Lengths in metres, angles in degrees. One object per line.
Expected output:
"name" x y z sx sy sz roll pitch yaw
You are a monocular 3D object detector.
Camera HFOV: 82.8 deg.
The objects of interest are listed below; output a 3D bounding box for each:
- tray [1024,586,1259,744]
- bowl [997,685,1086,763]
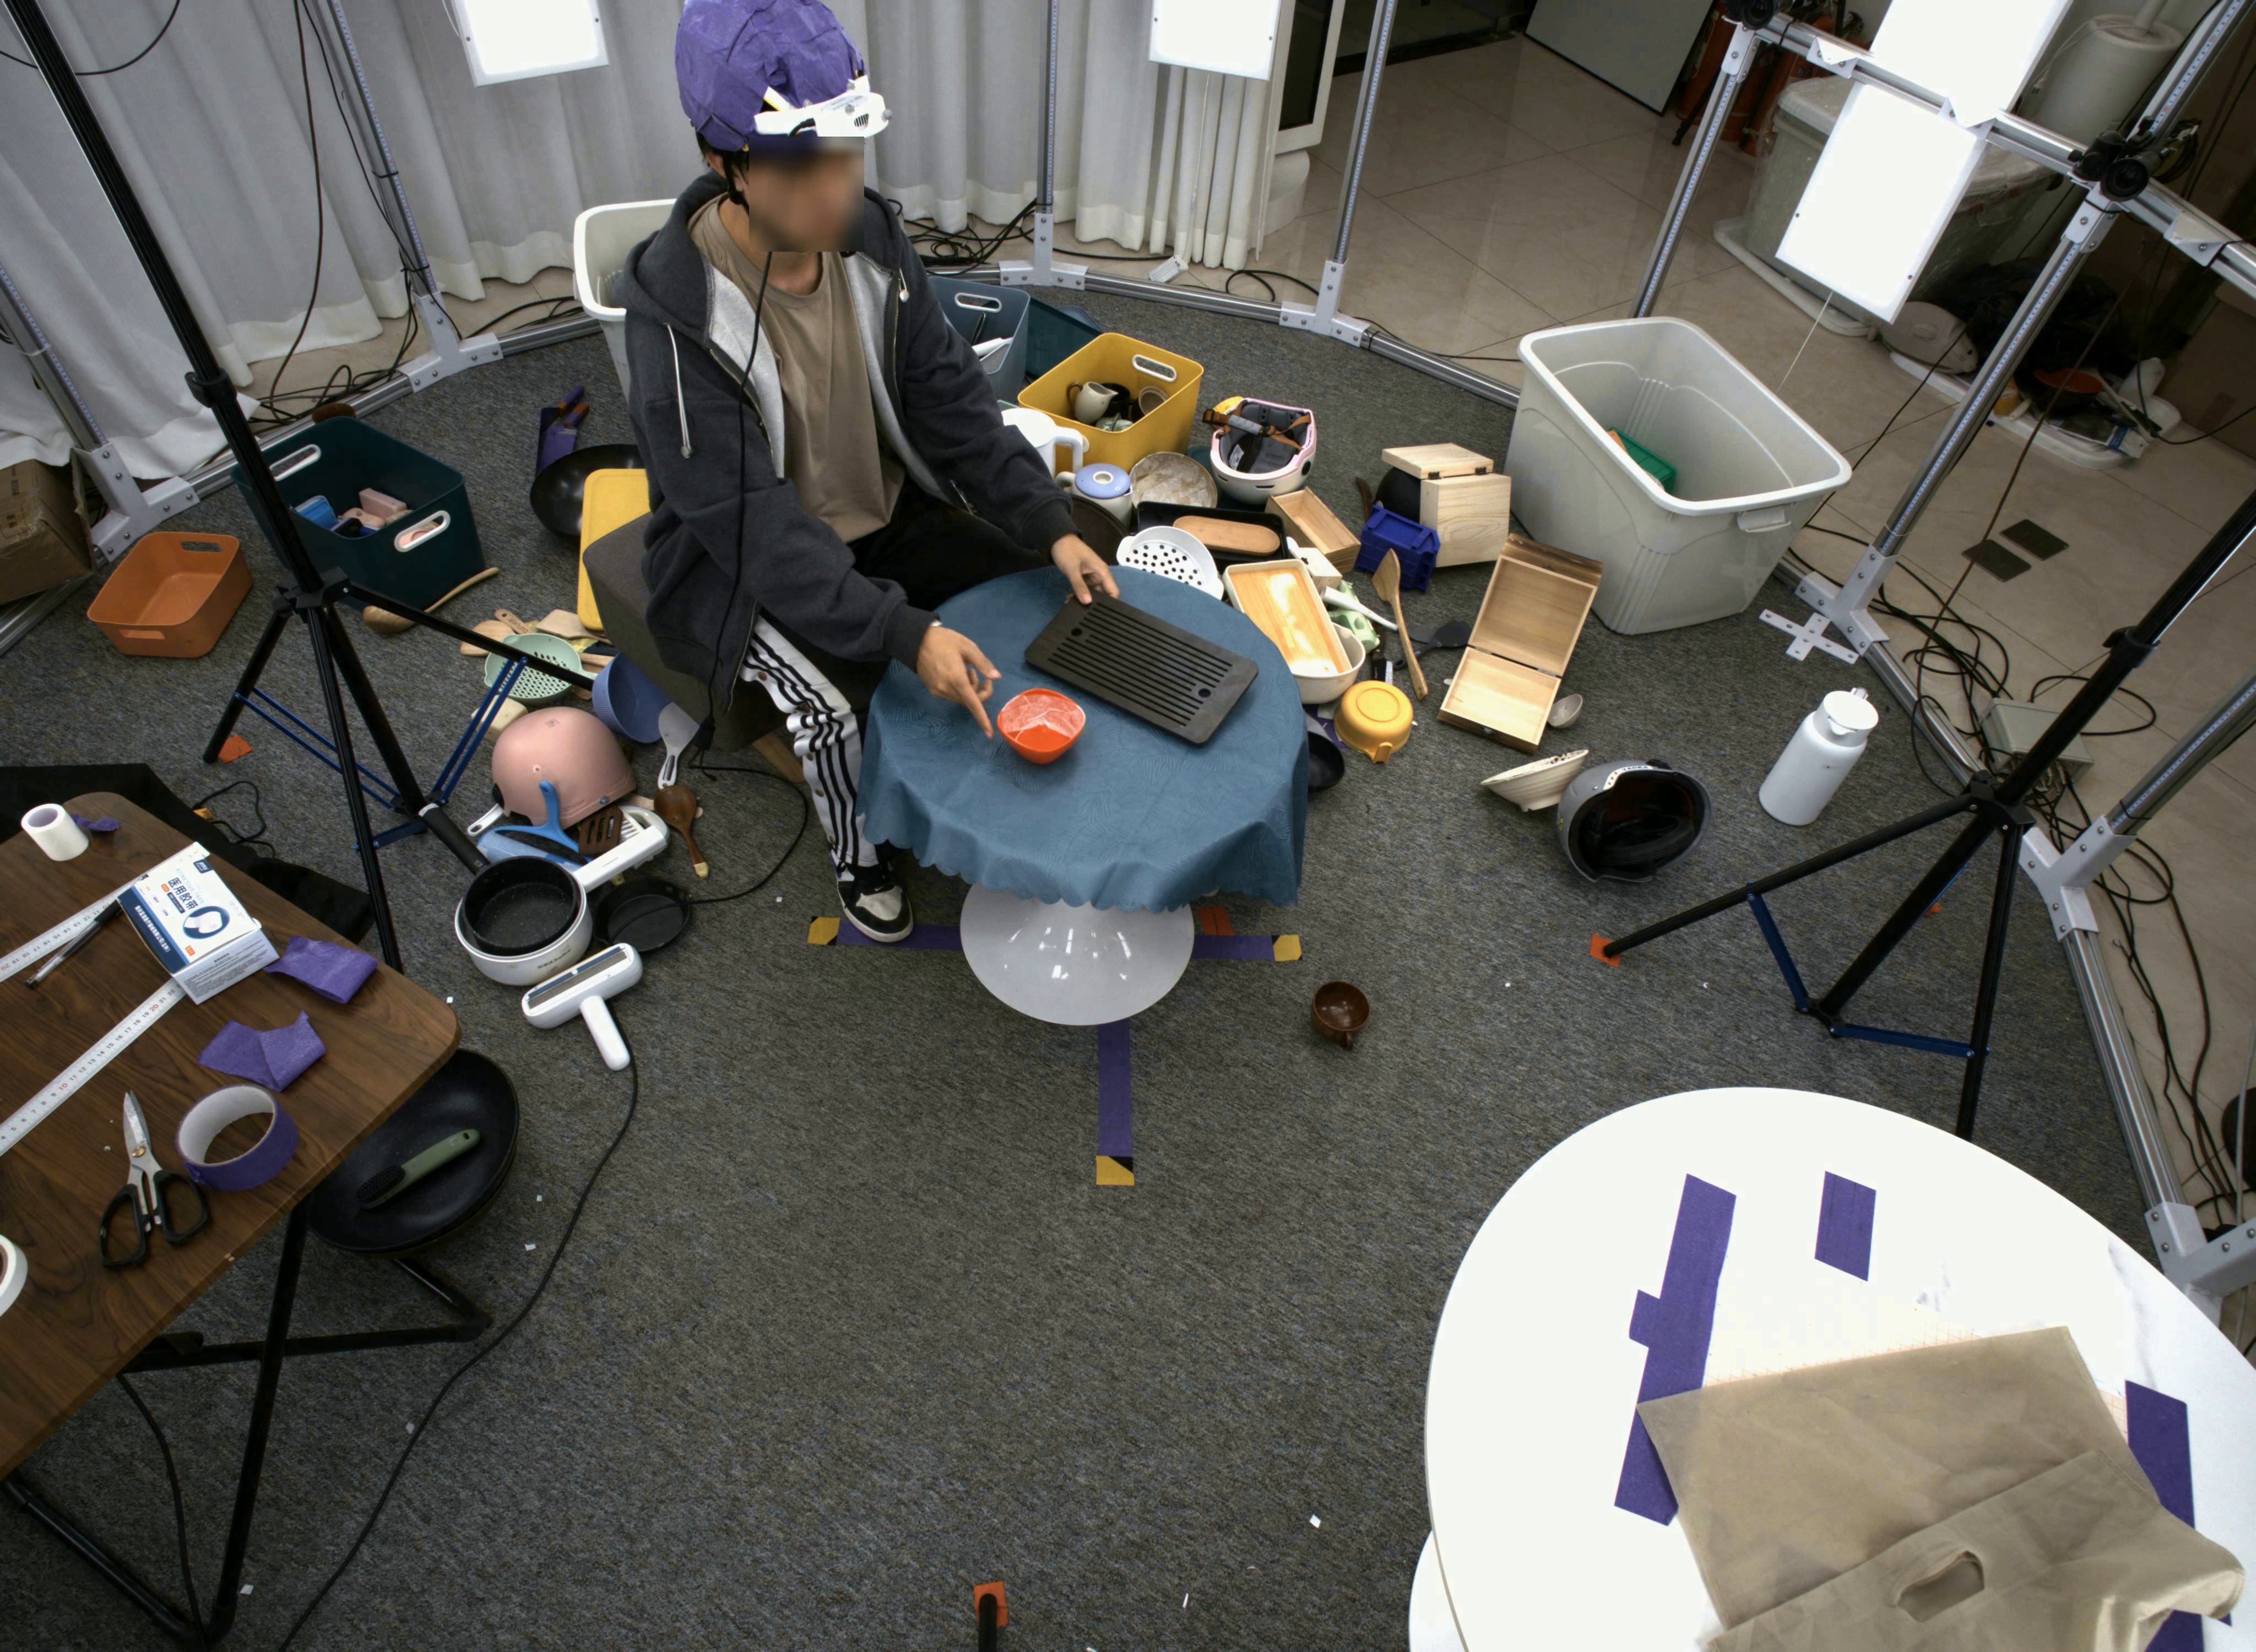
"tray" 0.019 -0.234 1.847 0.309 0.018 0.172 27 60 19
"bowl" -0.118 -0.131 1.734 0.119 0.050 0.122 3 53 -4
